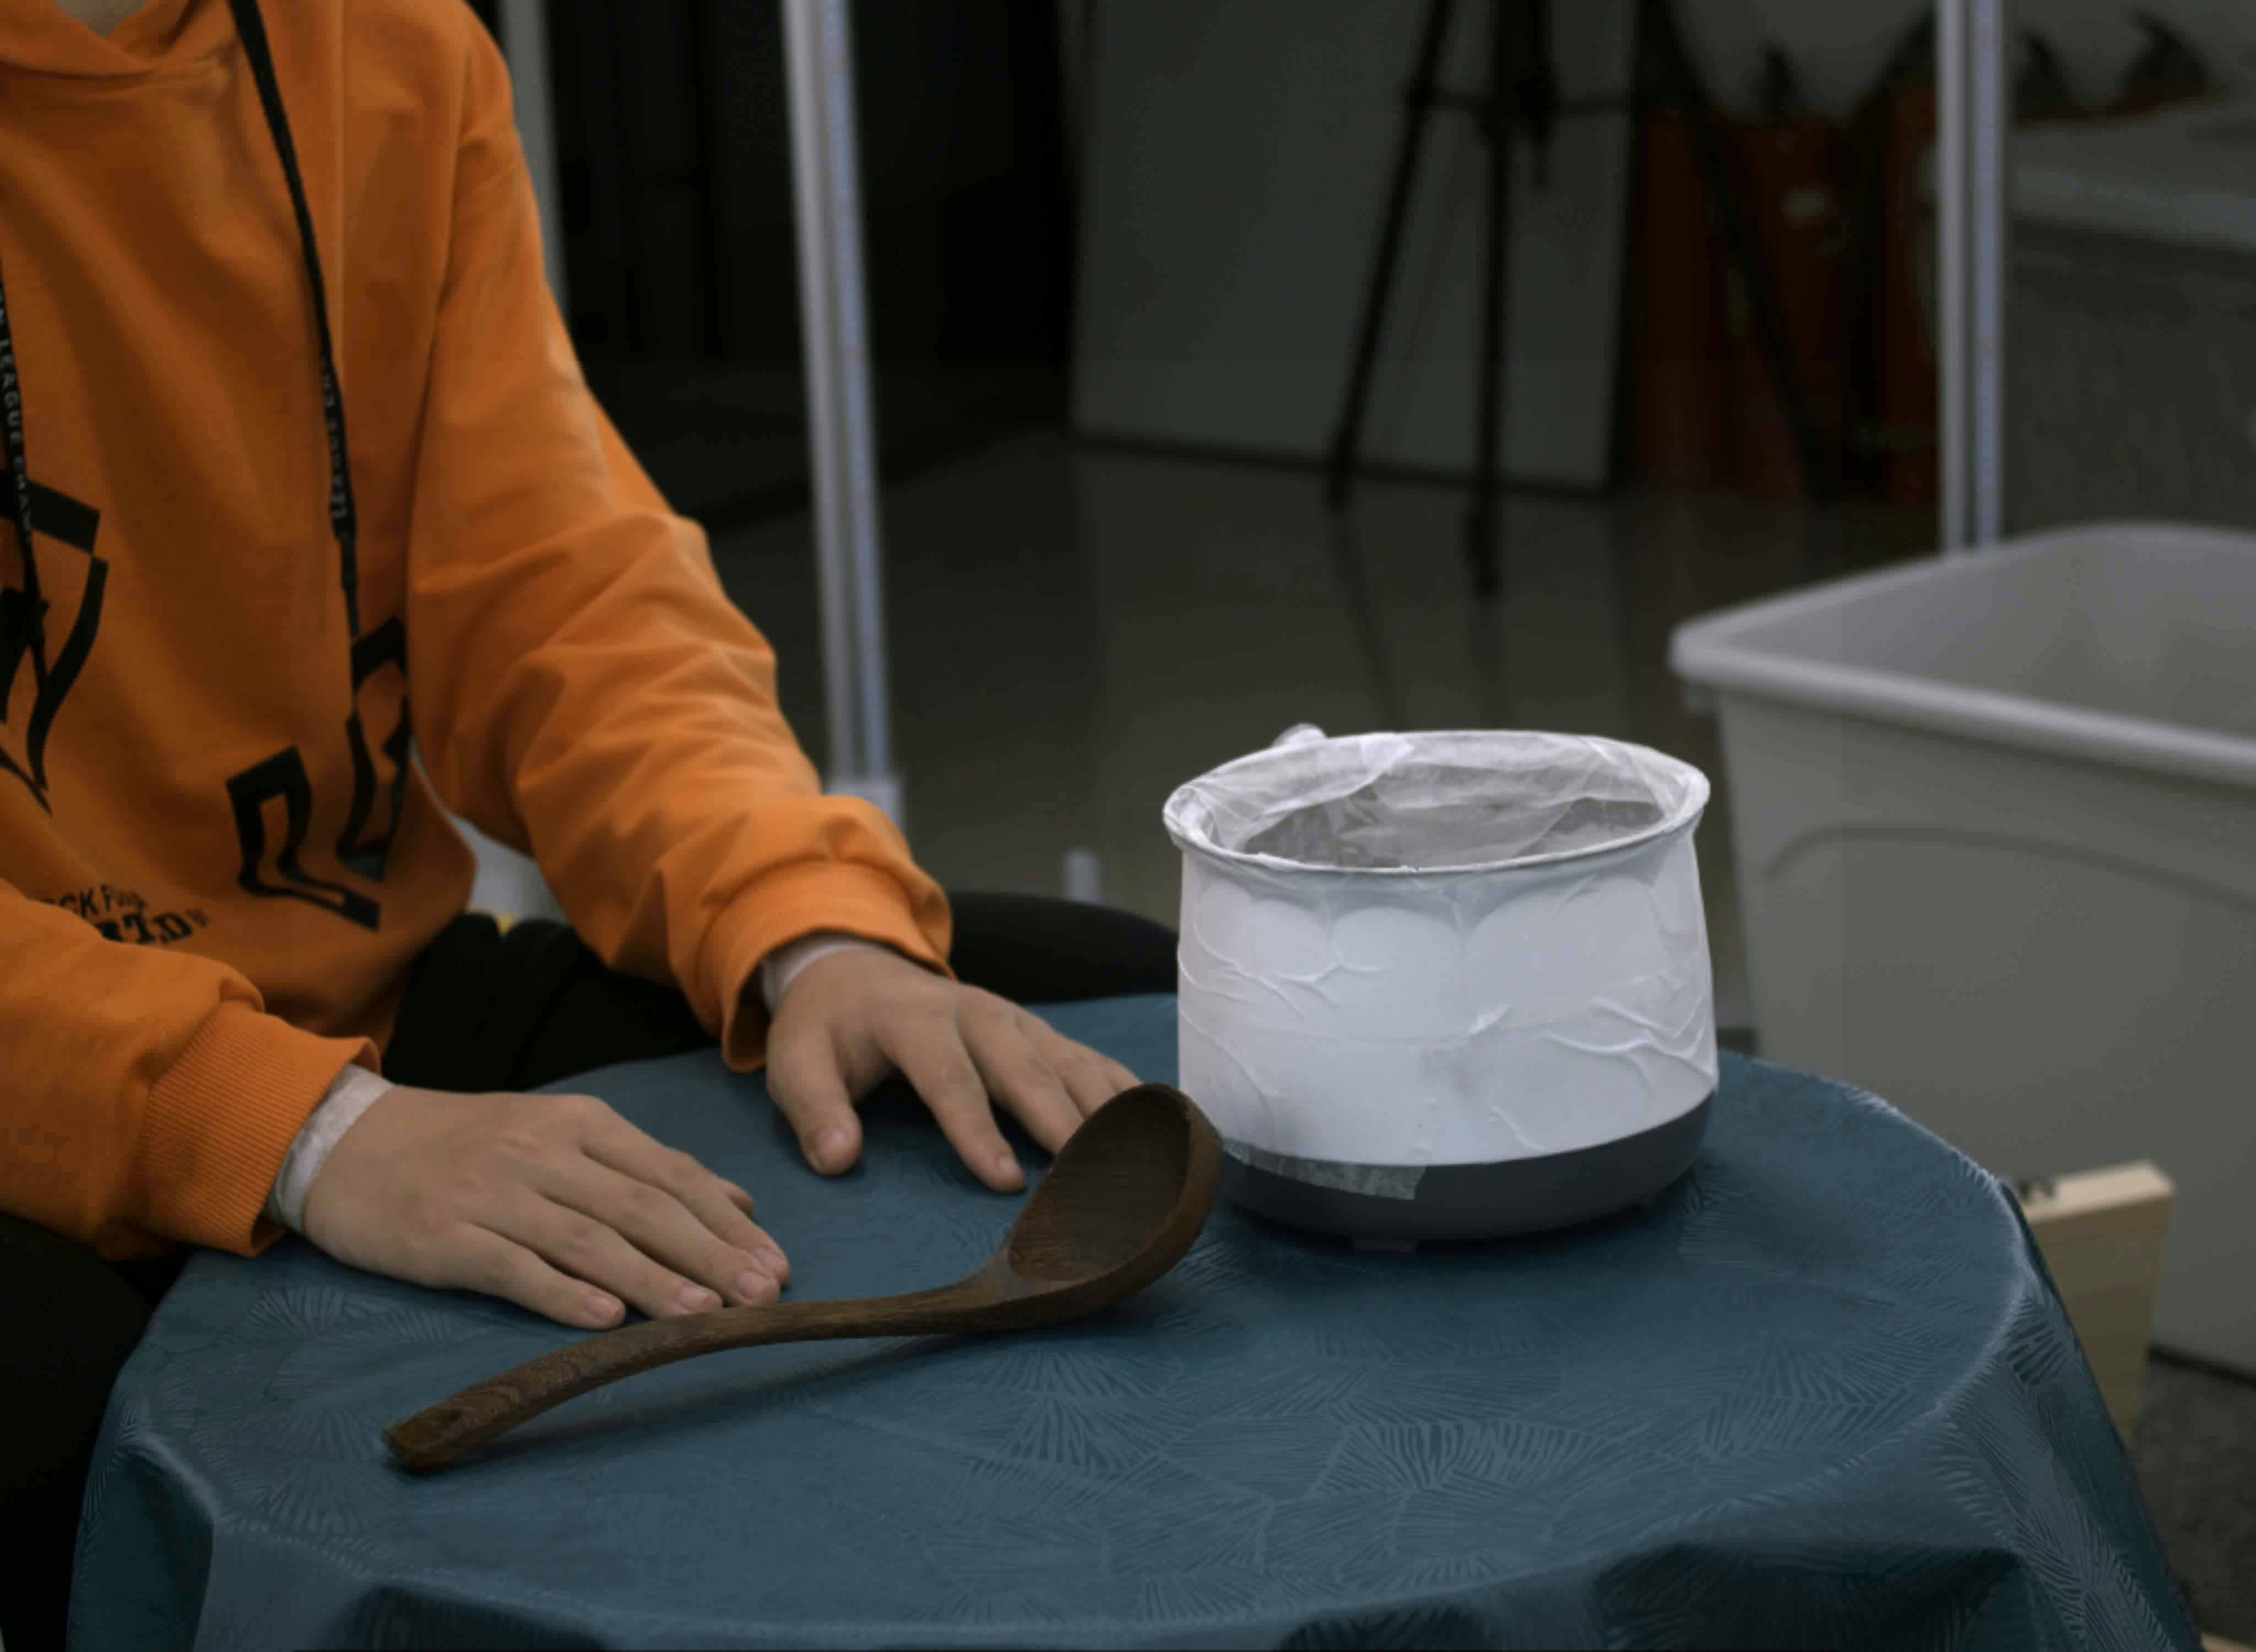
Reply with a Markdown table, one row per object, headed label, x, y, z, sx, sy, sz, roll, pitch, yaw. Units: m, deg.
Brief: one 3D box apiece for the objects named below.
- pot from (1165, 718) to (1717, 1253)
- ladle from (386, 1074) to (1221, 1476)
| label | x | y | z | sx | sy | sz | roll | pitch | yaw |
| --- | --- | --- | --- | --- | --- | --- | --- | --- | --- |
| pot | 0.090 | 0.045 | 1.763 | 0.175 | 0.138 | 0.236 | -9 | 15 | -23 |
| ladle | -0.095 | 0.131 | 1.612 | 0.268 | 0.072 | 0.077 | -10 | 12 | -26 |
